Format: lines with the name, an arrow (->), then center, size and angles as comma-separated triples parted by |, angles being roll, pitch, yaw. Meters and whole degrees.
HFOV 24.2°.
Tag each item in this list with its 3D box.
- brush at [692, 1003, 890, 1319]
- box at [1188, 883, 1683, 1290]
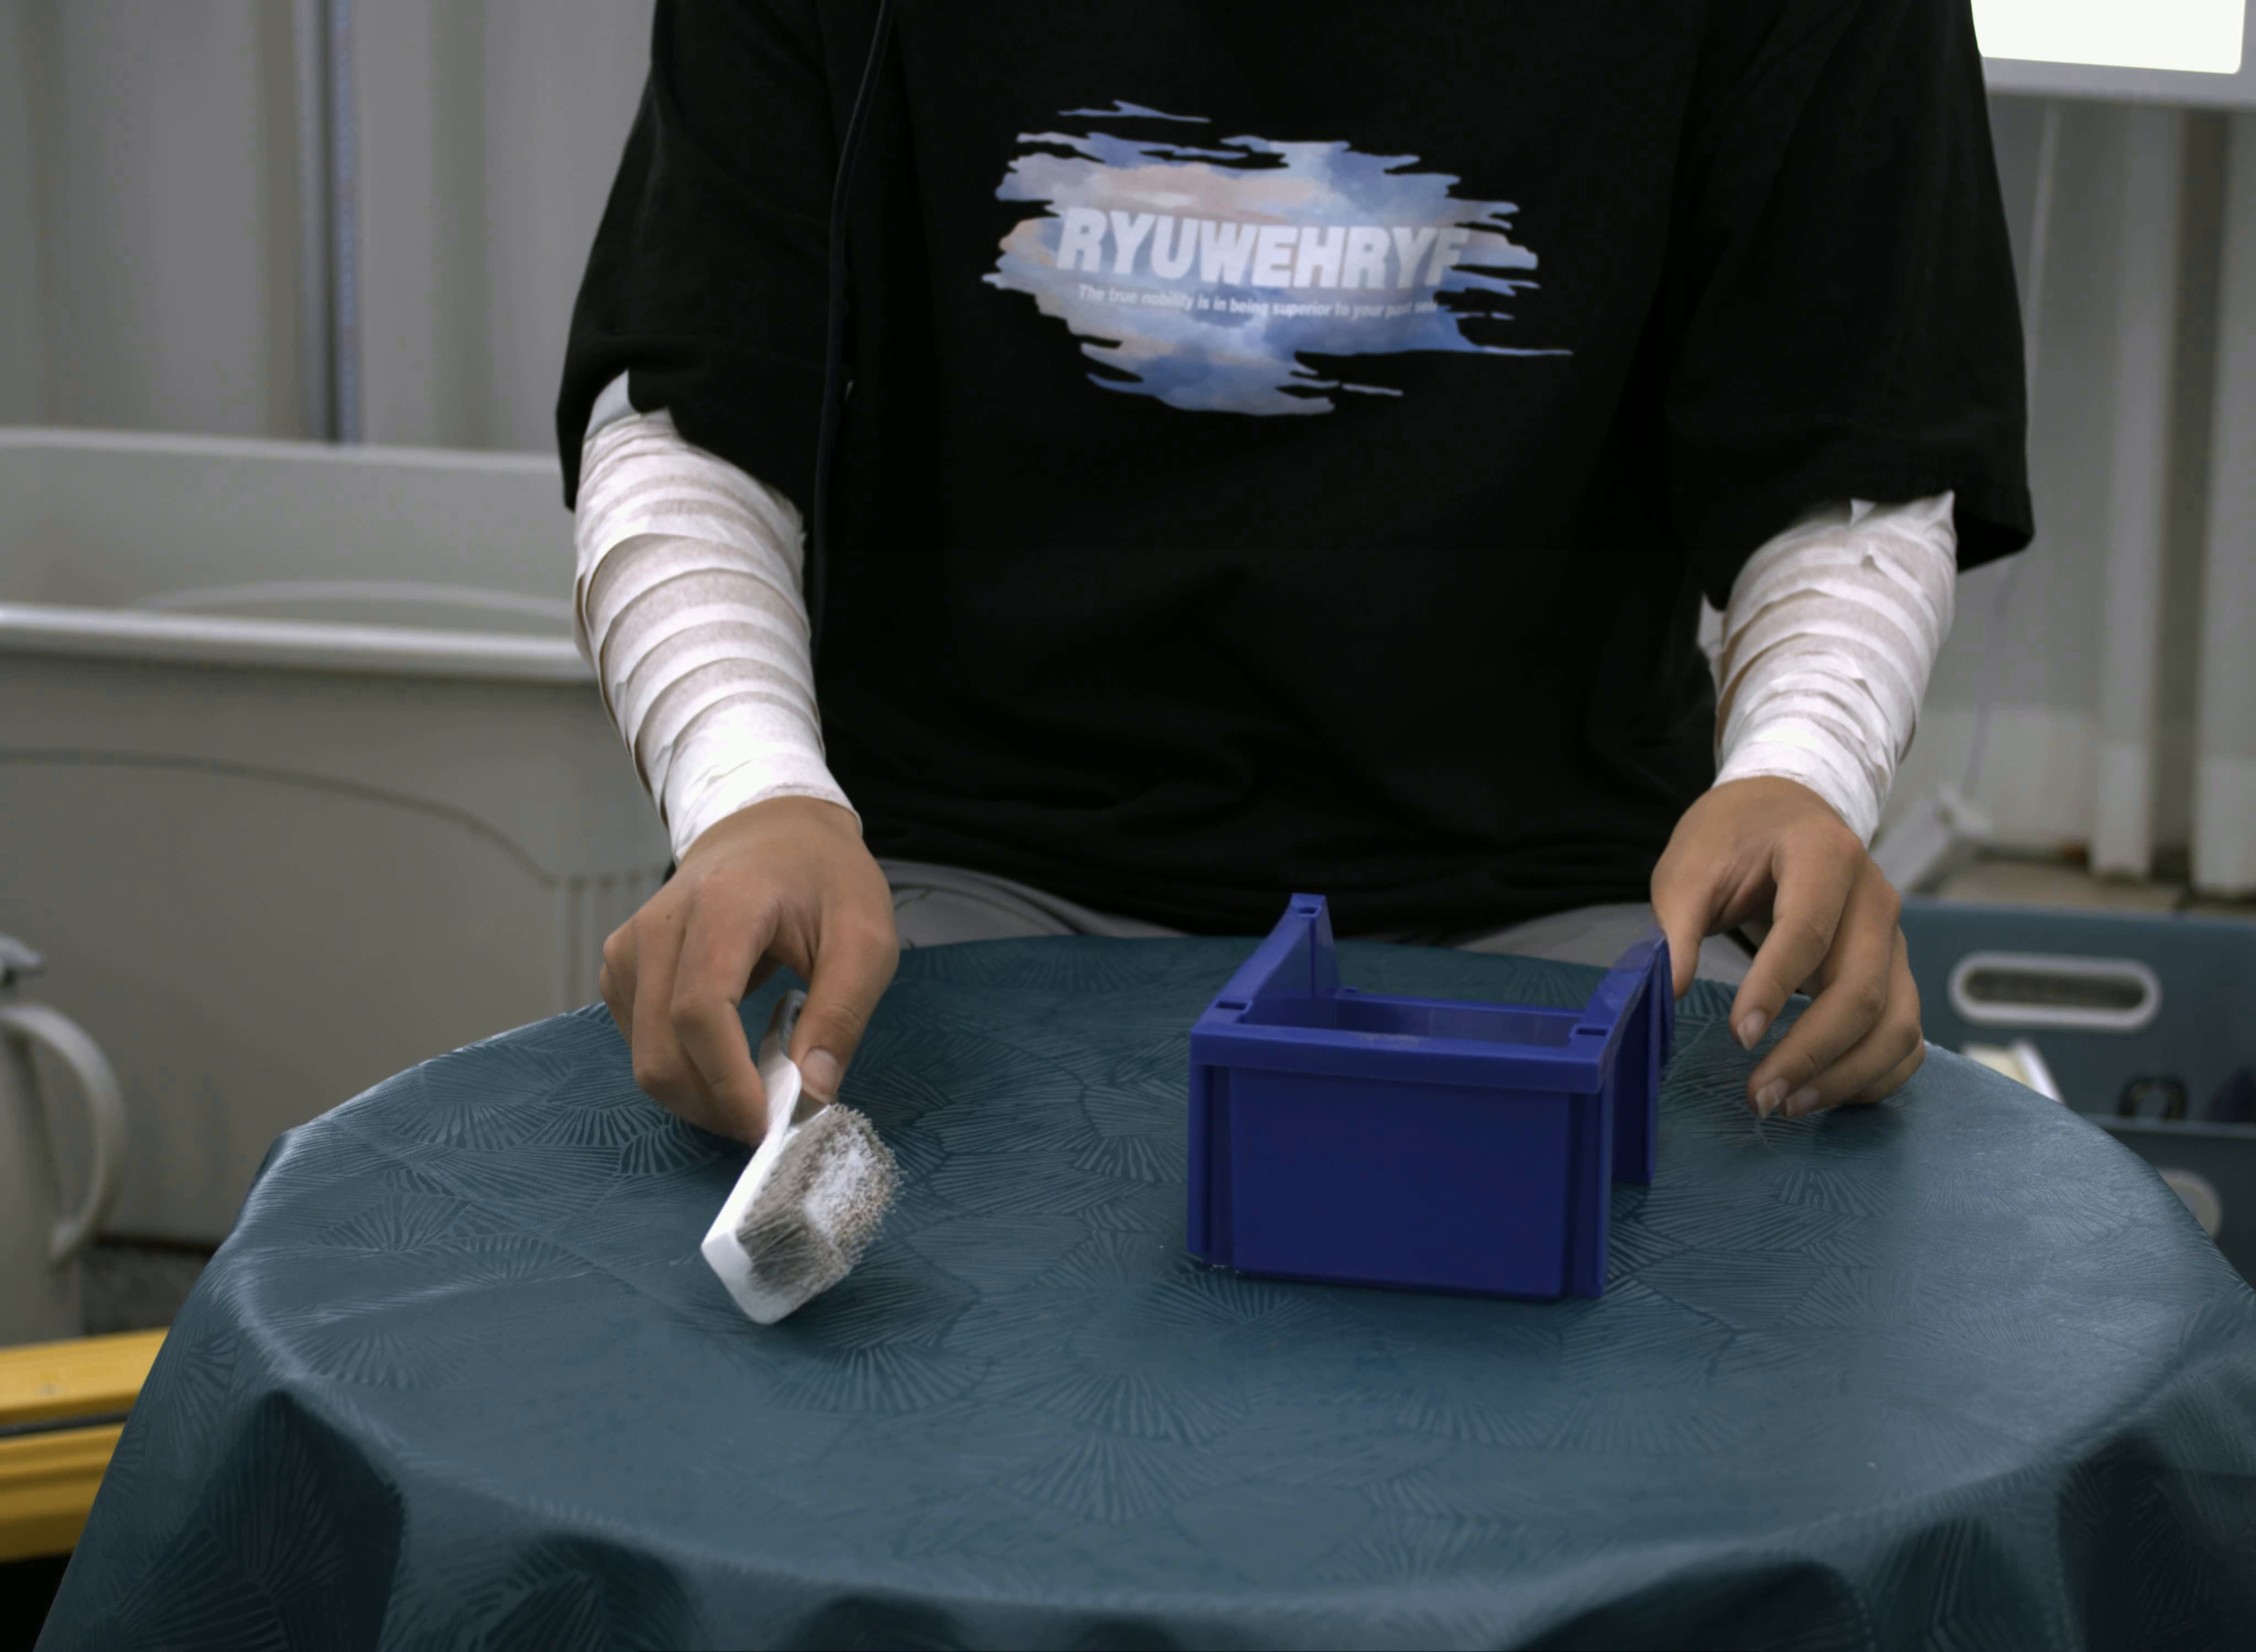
brush -> -0.091, 0.087, 1.601 | 0.050, 0.034, 0.242 | -39, 10, 13
box -> 0.095, 0.075, 1.610 | 0.123, 0.082, 0.179 | 4, 17, 14
